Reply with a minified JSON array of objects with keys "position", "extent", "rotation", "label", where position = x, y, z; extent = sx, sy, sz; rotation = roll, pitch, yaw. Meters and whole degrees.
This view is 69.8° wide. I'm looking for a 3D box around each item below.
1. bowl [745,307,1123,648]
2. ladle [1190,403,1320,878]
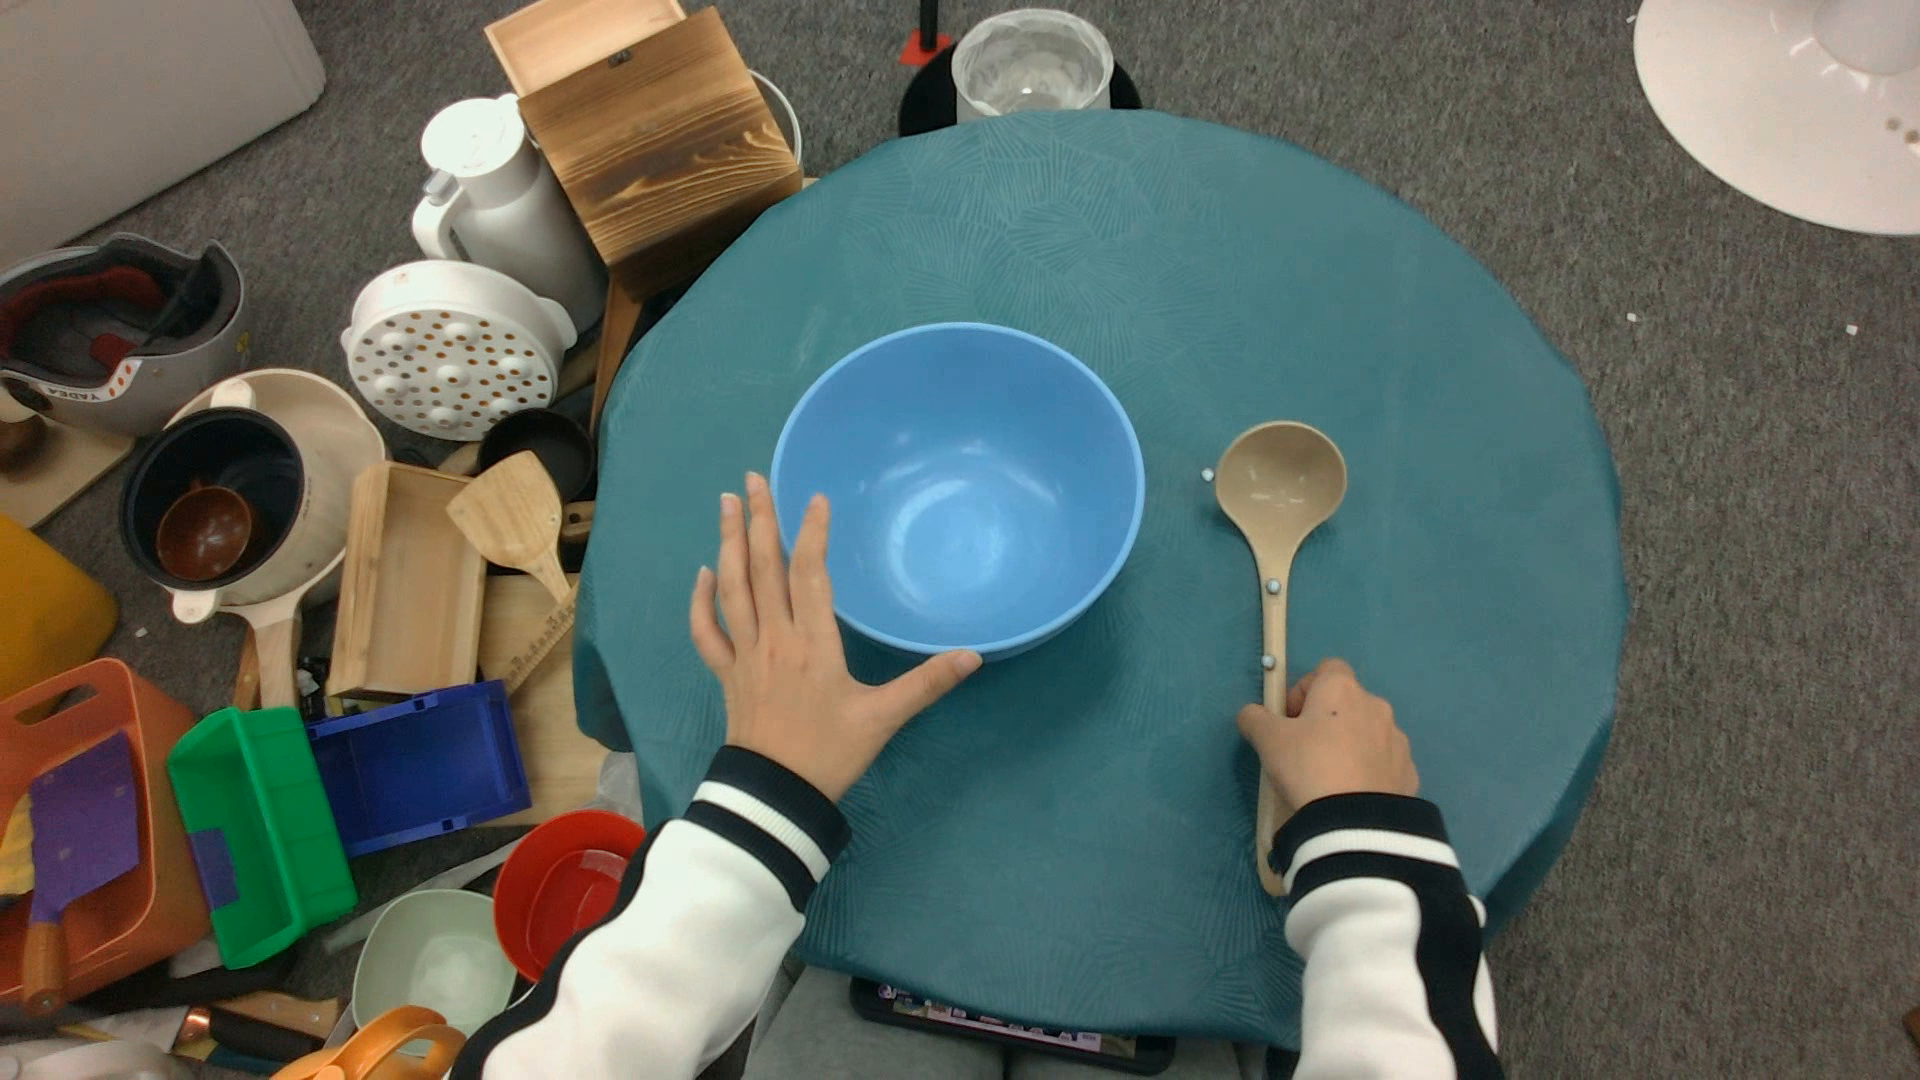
[{"position":[-0.013,-0.021,0.754],"extent":[0.196,0.095,0.197],"rotation":[0,62,1],"label":"bowl"},{"position":[0.159,0.043,0.729],"extent":[0.072,0.072,0.255],"rotation":[-1,61,10],"label":"ladle"}]
